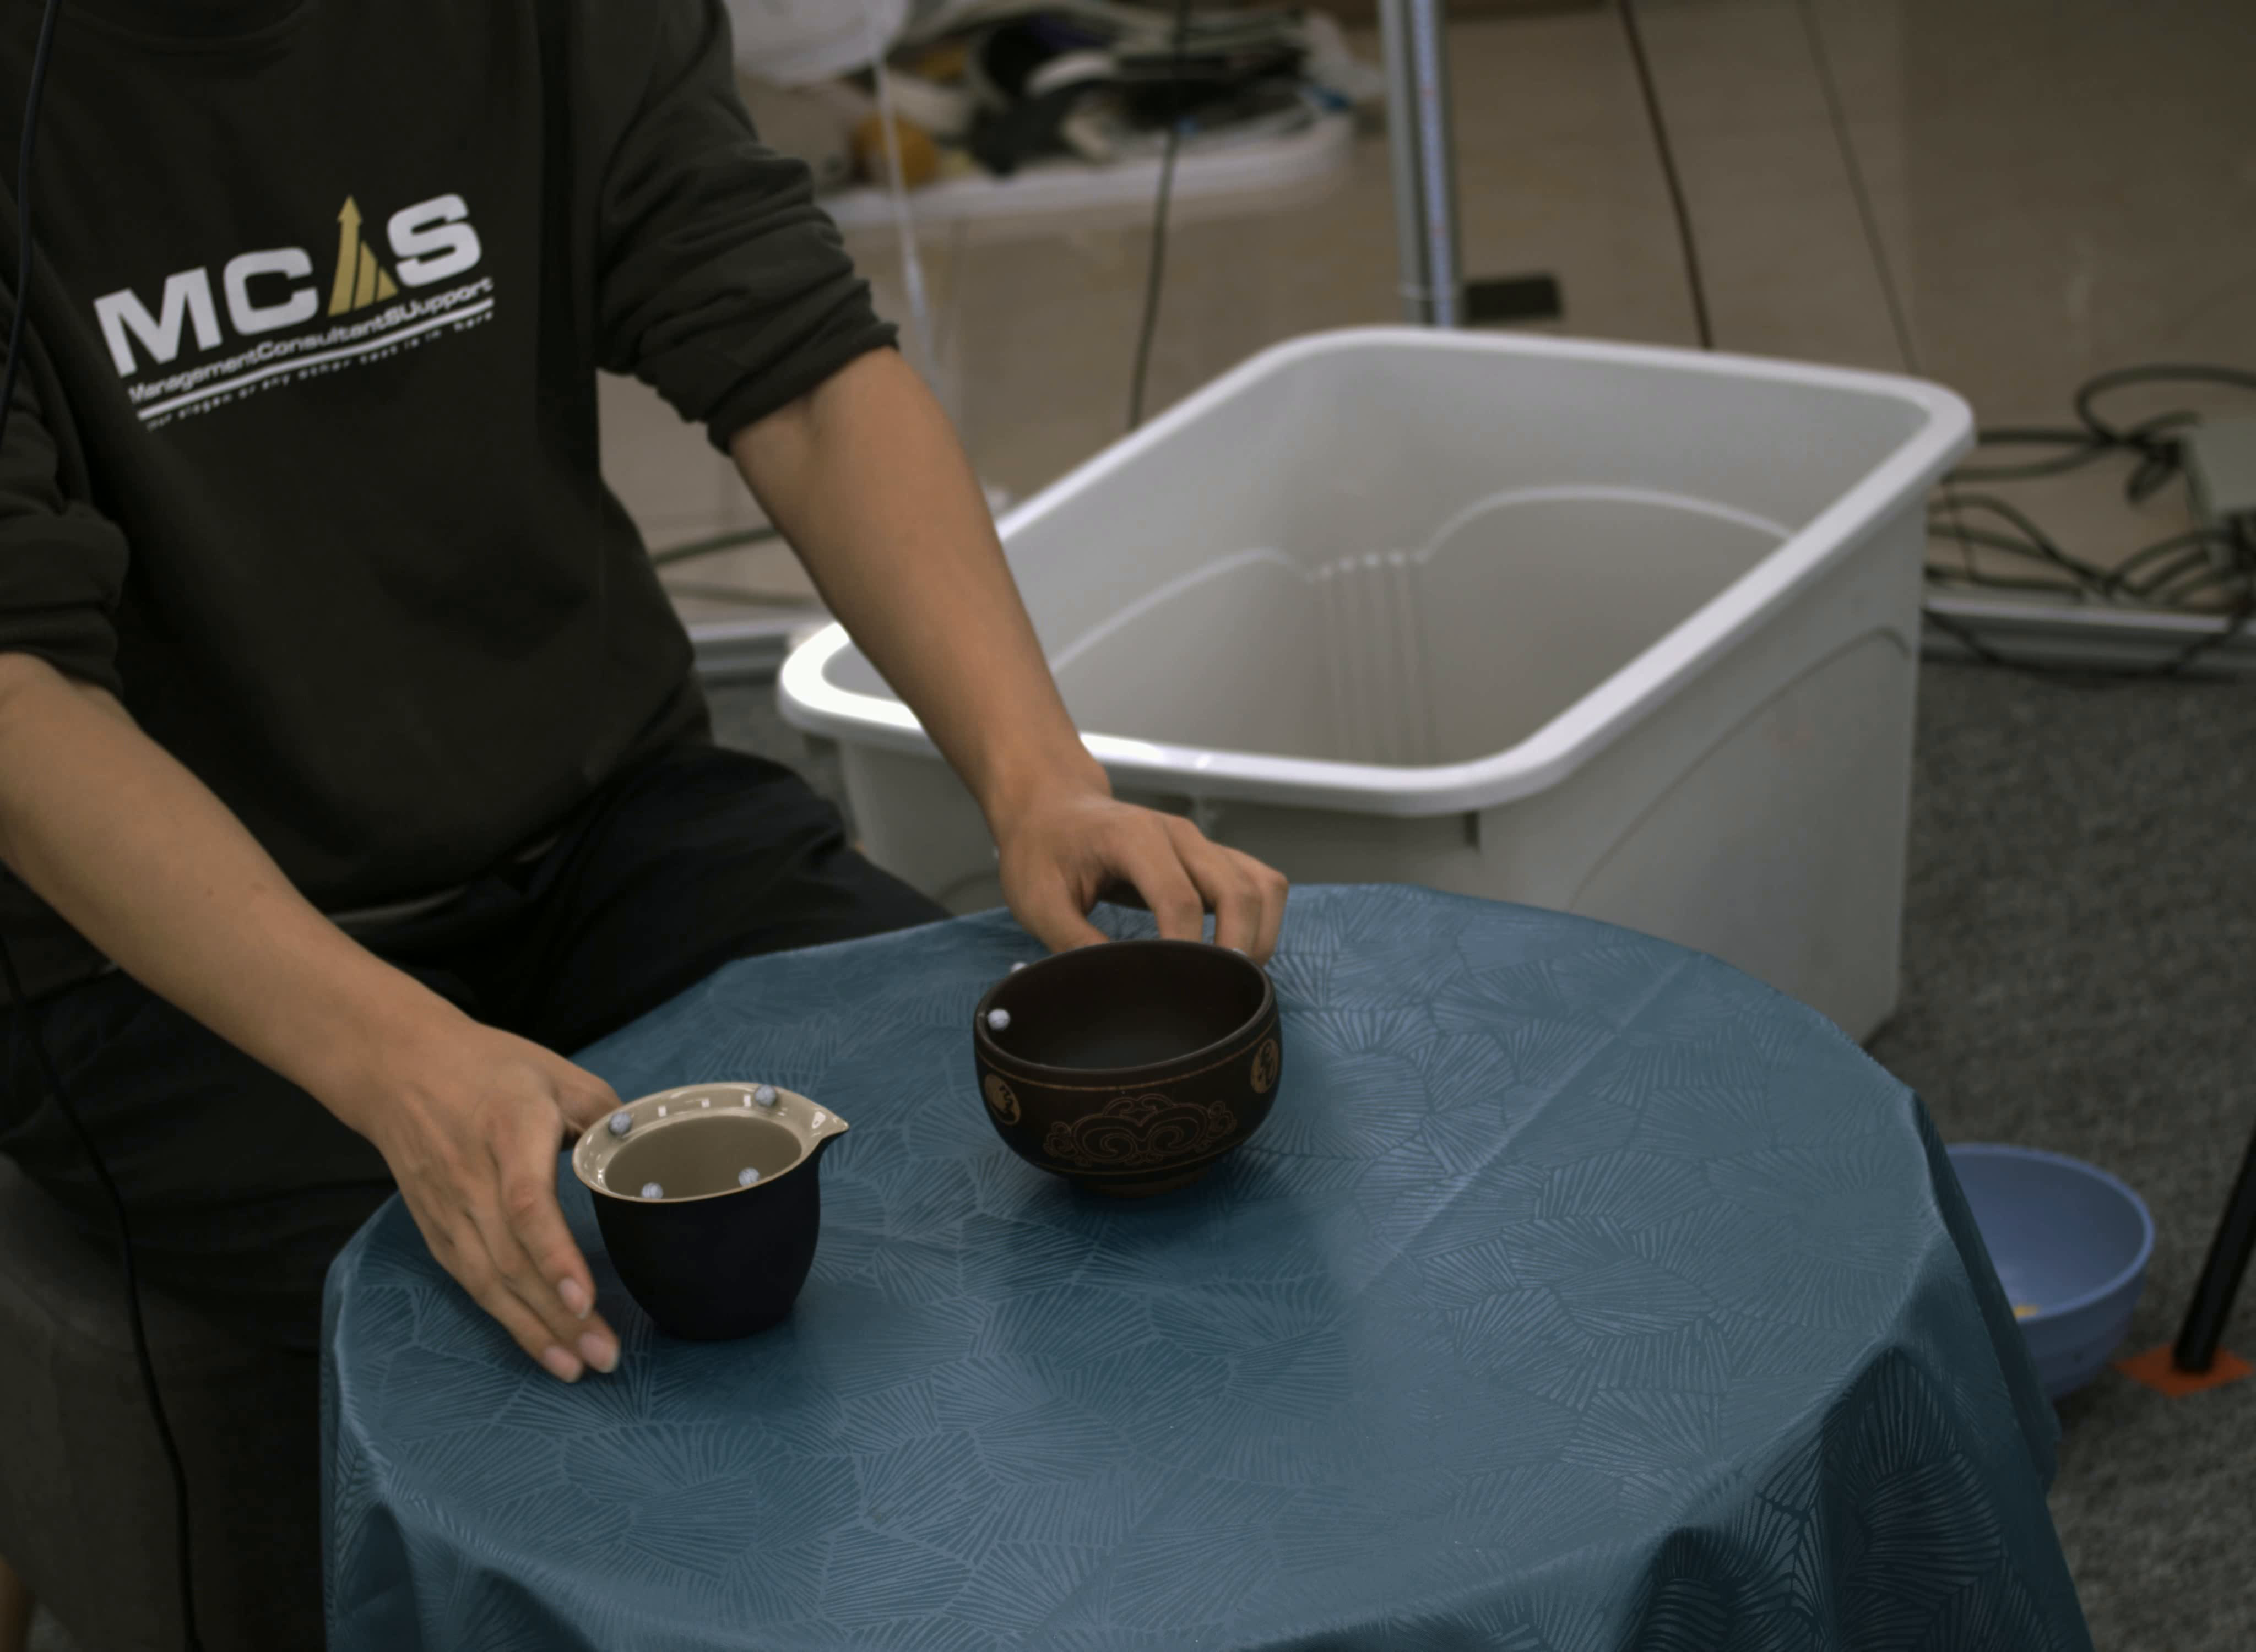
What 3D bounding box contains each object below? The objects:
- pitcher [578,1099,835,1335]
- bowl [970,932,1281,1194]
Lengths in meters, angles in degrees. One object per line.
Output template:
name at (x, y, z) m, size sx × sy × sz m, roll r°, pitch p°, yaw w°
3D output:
pitcher at (-0.150, 0.143, 2.083) m, size 0.096 × 0.072 × 0.082 m, roll -7°, pitch 23°, yaw 1°
bowl at (0.001, 0.096, 2.153) m, size 0.118 × 0.071 × 0.116 m, roll -5°, pitch 27°, yaw 2°
